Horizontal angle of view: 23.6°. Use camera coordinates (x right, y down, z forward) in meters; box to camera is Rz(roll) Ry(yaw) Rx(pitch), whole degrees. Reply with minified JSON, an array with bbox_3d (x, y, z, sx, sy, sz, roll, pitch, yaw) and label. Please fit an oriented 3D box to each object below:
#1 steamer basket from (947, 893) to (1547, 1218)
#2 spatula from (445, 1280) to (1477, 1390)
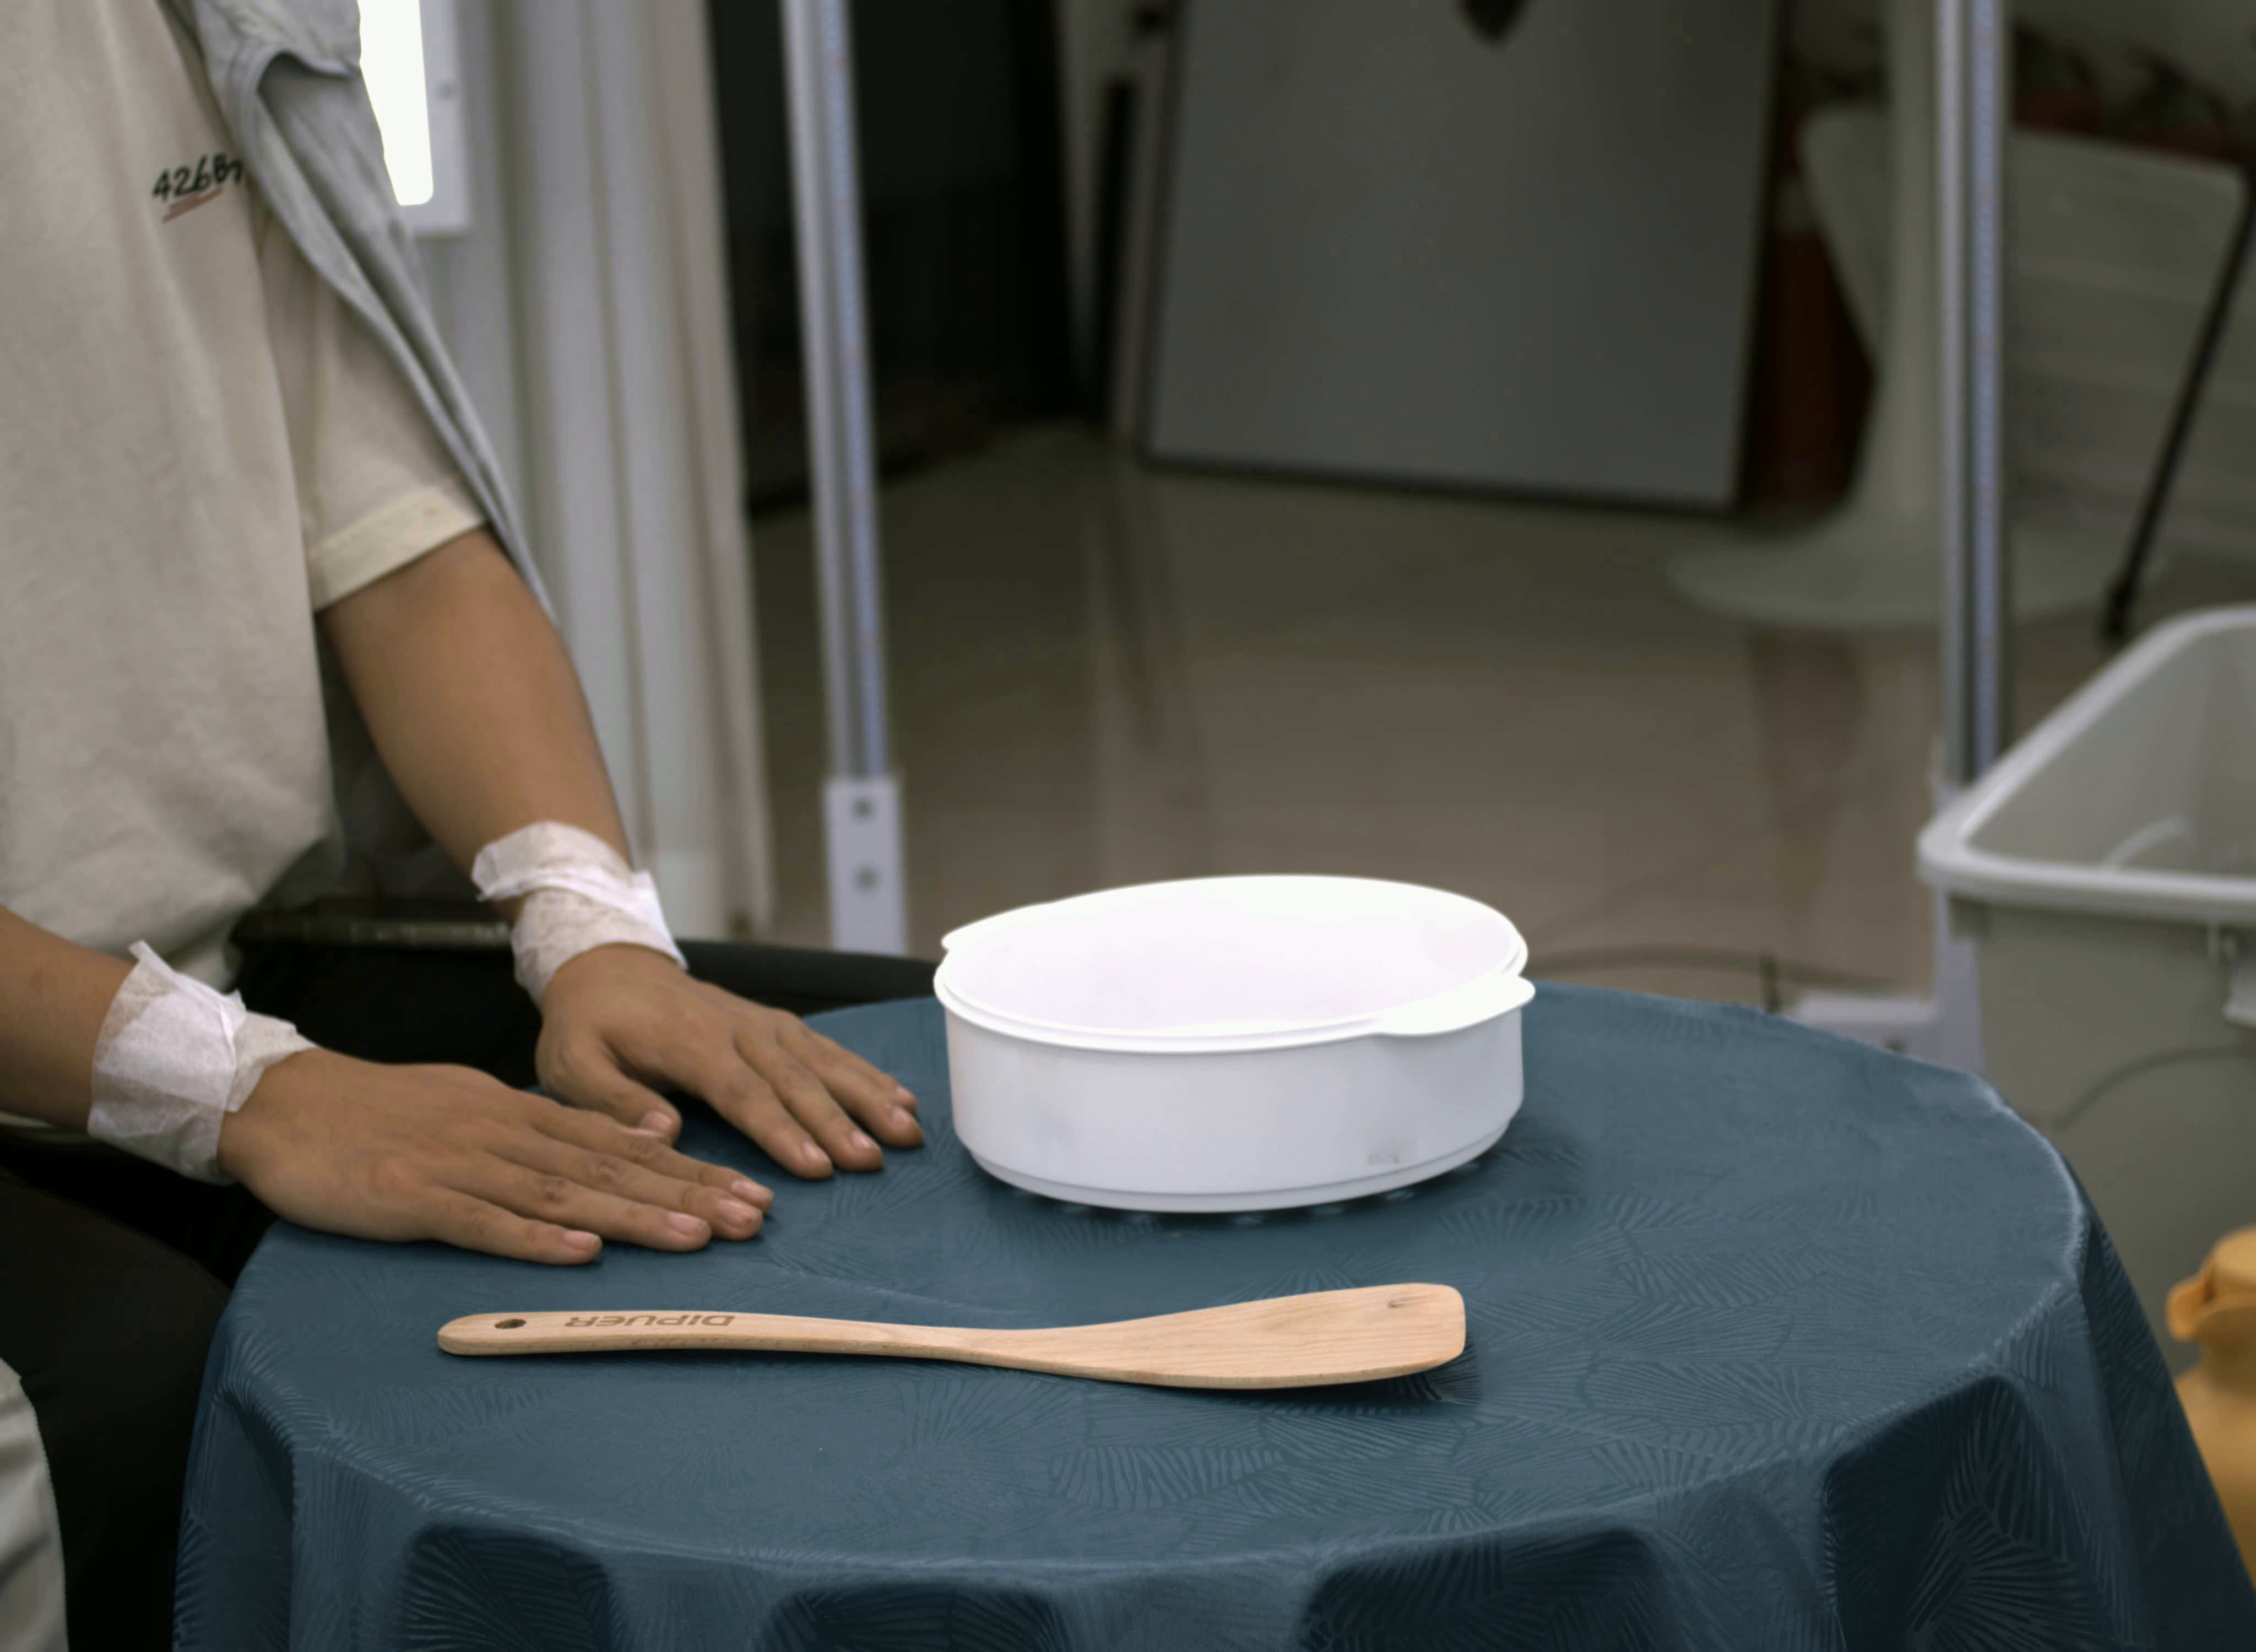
[{"bbox_3d":[0.040,0.077,1.809,0.232,0.070,0.198,8,17,43],"label":"steamer basket"},{"bbox_3d":[-0.051,0.153,1.625,0.326,0.017,0.079,-1,13,14],"label":"spatula"}]
